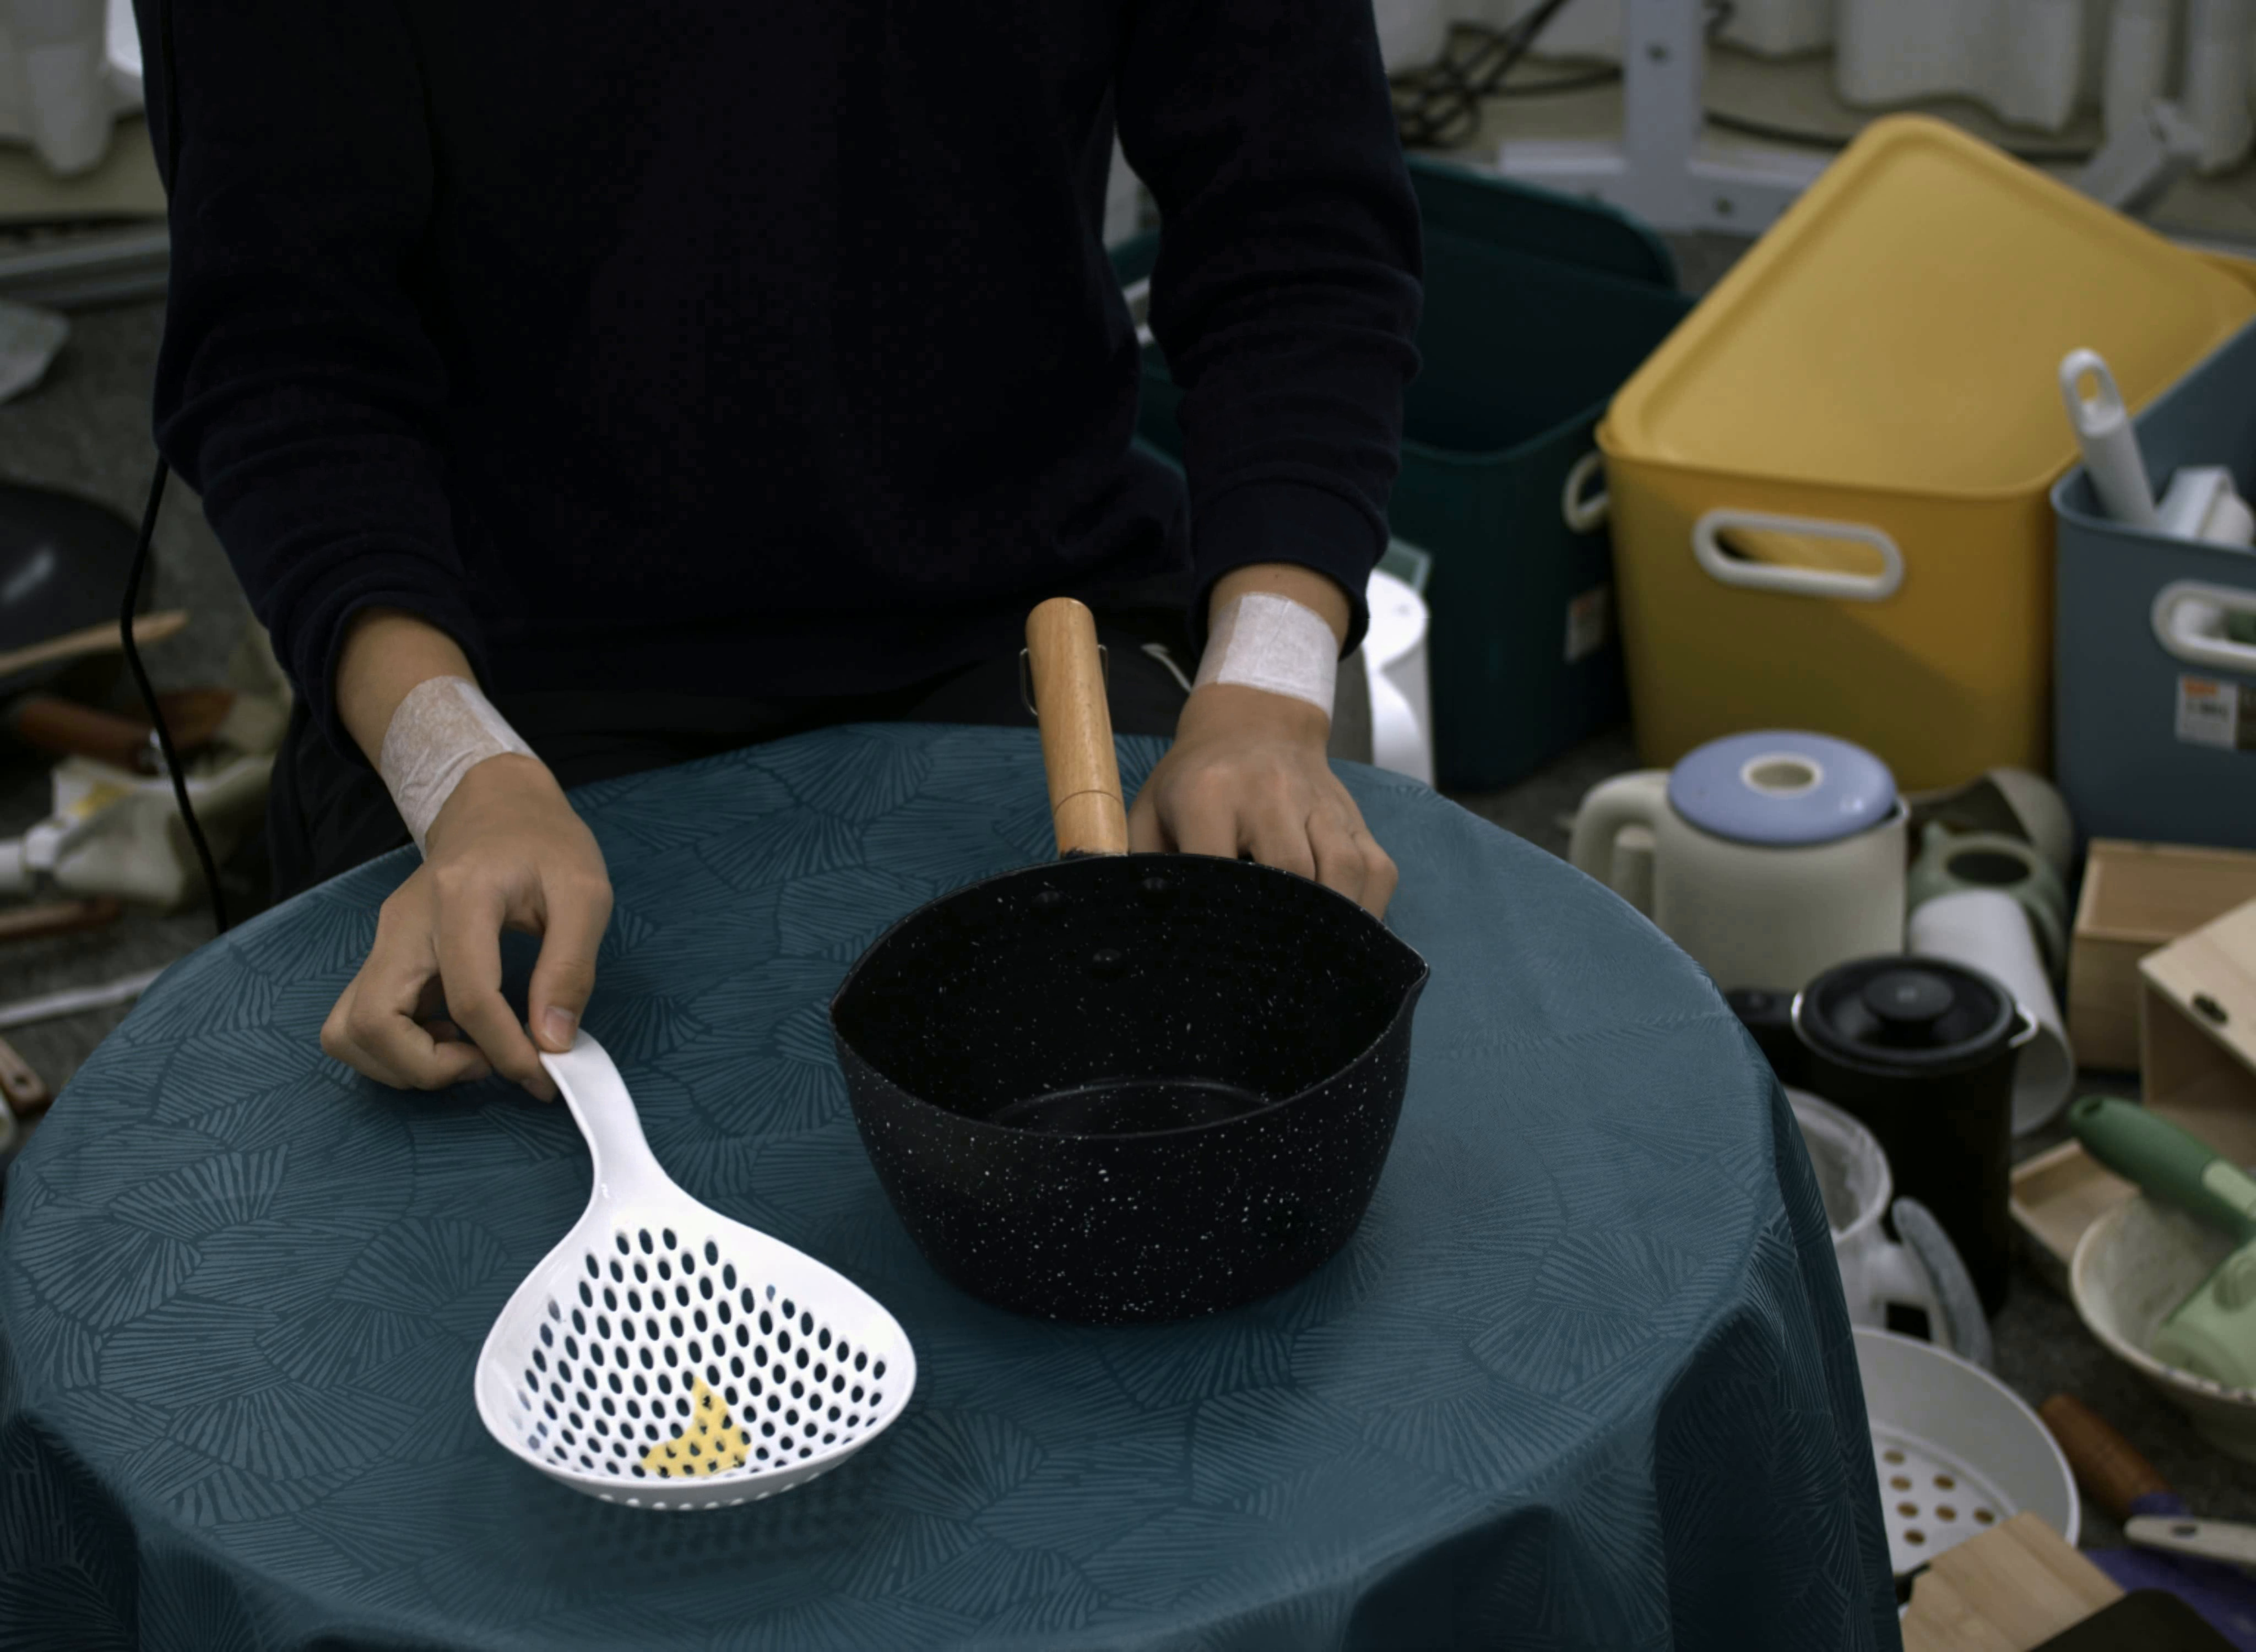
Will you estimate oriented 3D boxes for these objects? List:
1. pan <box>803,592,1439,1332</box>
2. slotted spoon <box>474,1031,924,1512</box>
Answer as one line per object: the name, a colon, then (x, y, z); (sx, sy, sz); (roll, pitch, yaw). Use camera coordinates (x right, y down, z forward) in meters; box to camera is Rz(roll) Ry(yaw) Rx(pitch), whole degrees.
pan: (-0.009, 0.042, 1.900); (0.207, 0.107, 0.347); (-6, 29, -4)
slotted spoon: (-0.161, 0.132, 1.813); (0.137, 0.050, 0.351); (-8, 29, -14)
